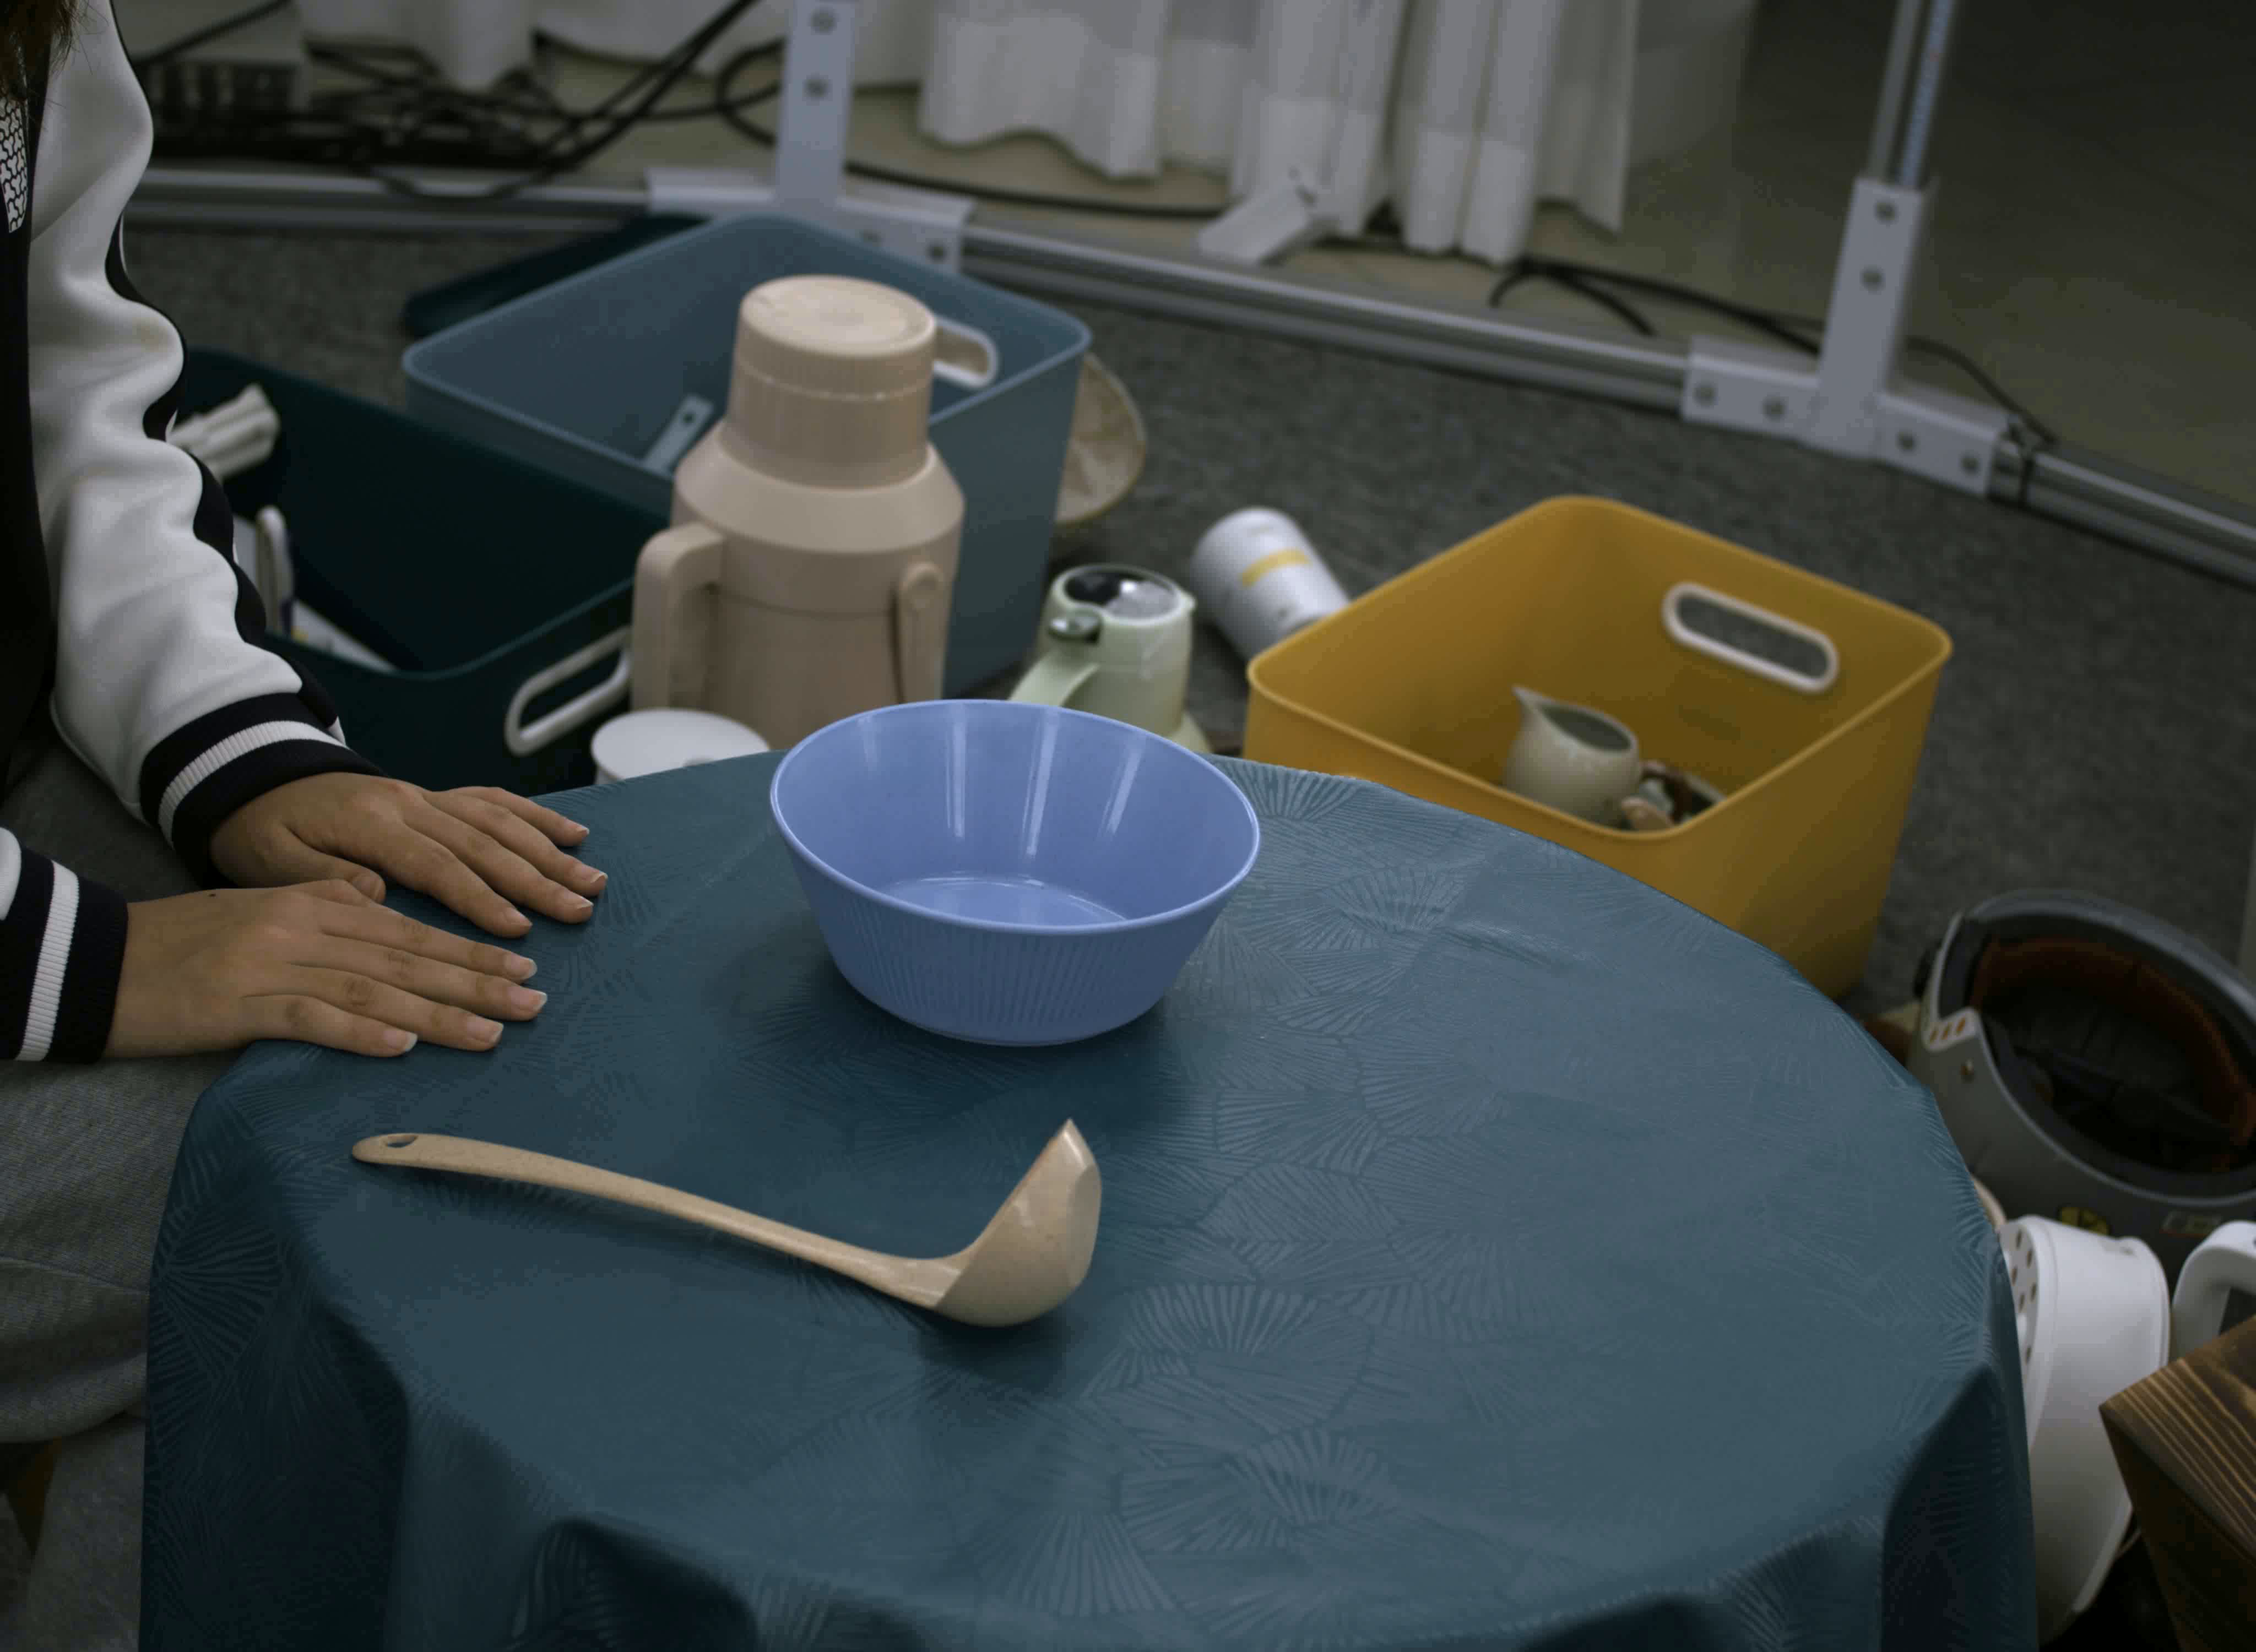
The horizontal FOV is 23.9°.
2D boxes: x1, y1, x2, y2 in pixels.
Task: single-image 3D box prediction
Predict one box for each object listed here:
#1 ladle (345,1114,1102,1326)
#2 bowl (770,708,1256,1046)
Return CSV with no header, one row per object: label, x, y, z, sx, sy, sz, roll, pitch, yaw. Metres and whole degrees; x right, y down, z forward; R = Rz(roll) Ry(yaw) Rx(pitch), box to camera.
ladle,-0.134,0.105,1.728,0.254,0.072,0.072,12,26,11
bowl,-0.044,0.024,1.911,0.175,0.070,0.177,5,26,-3
